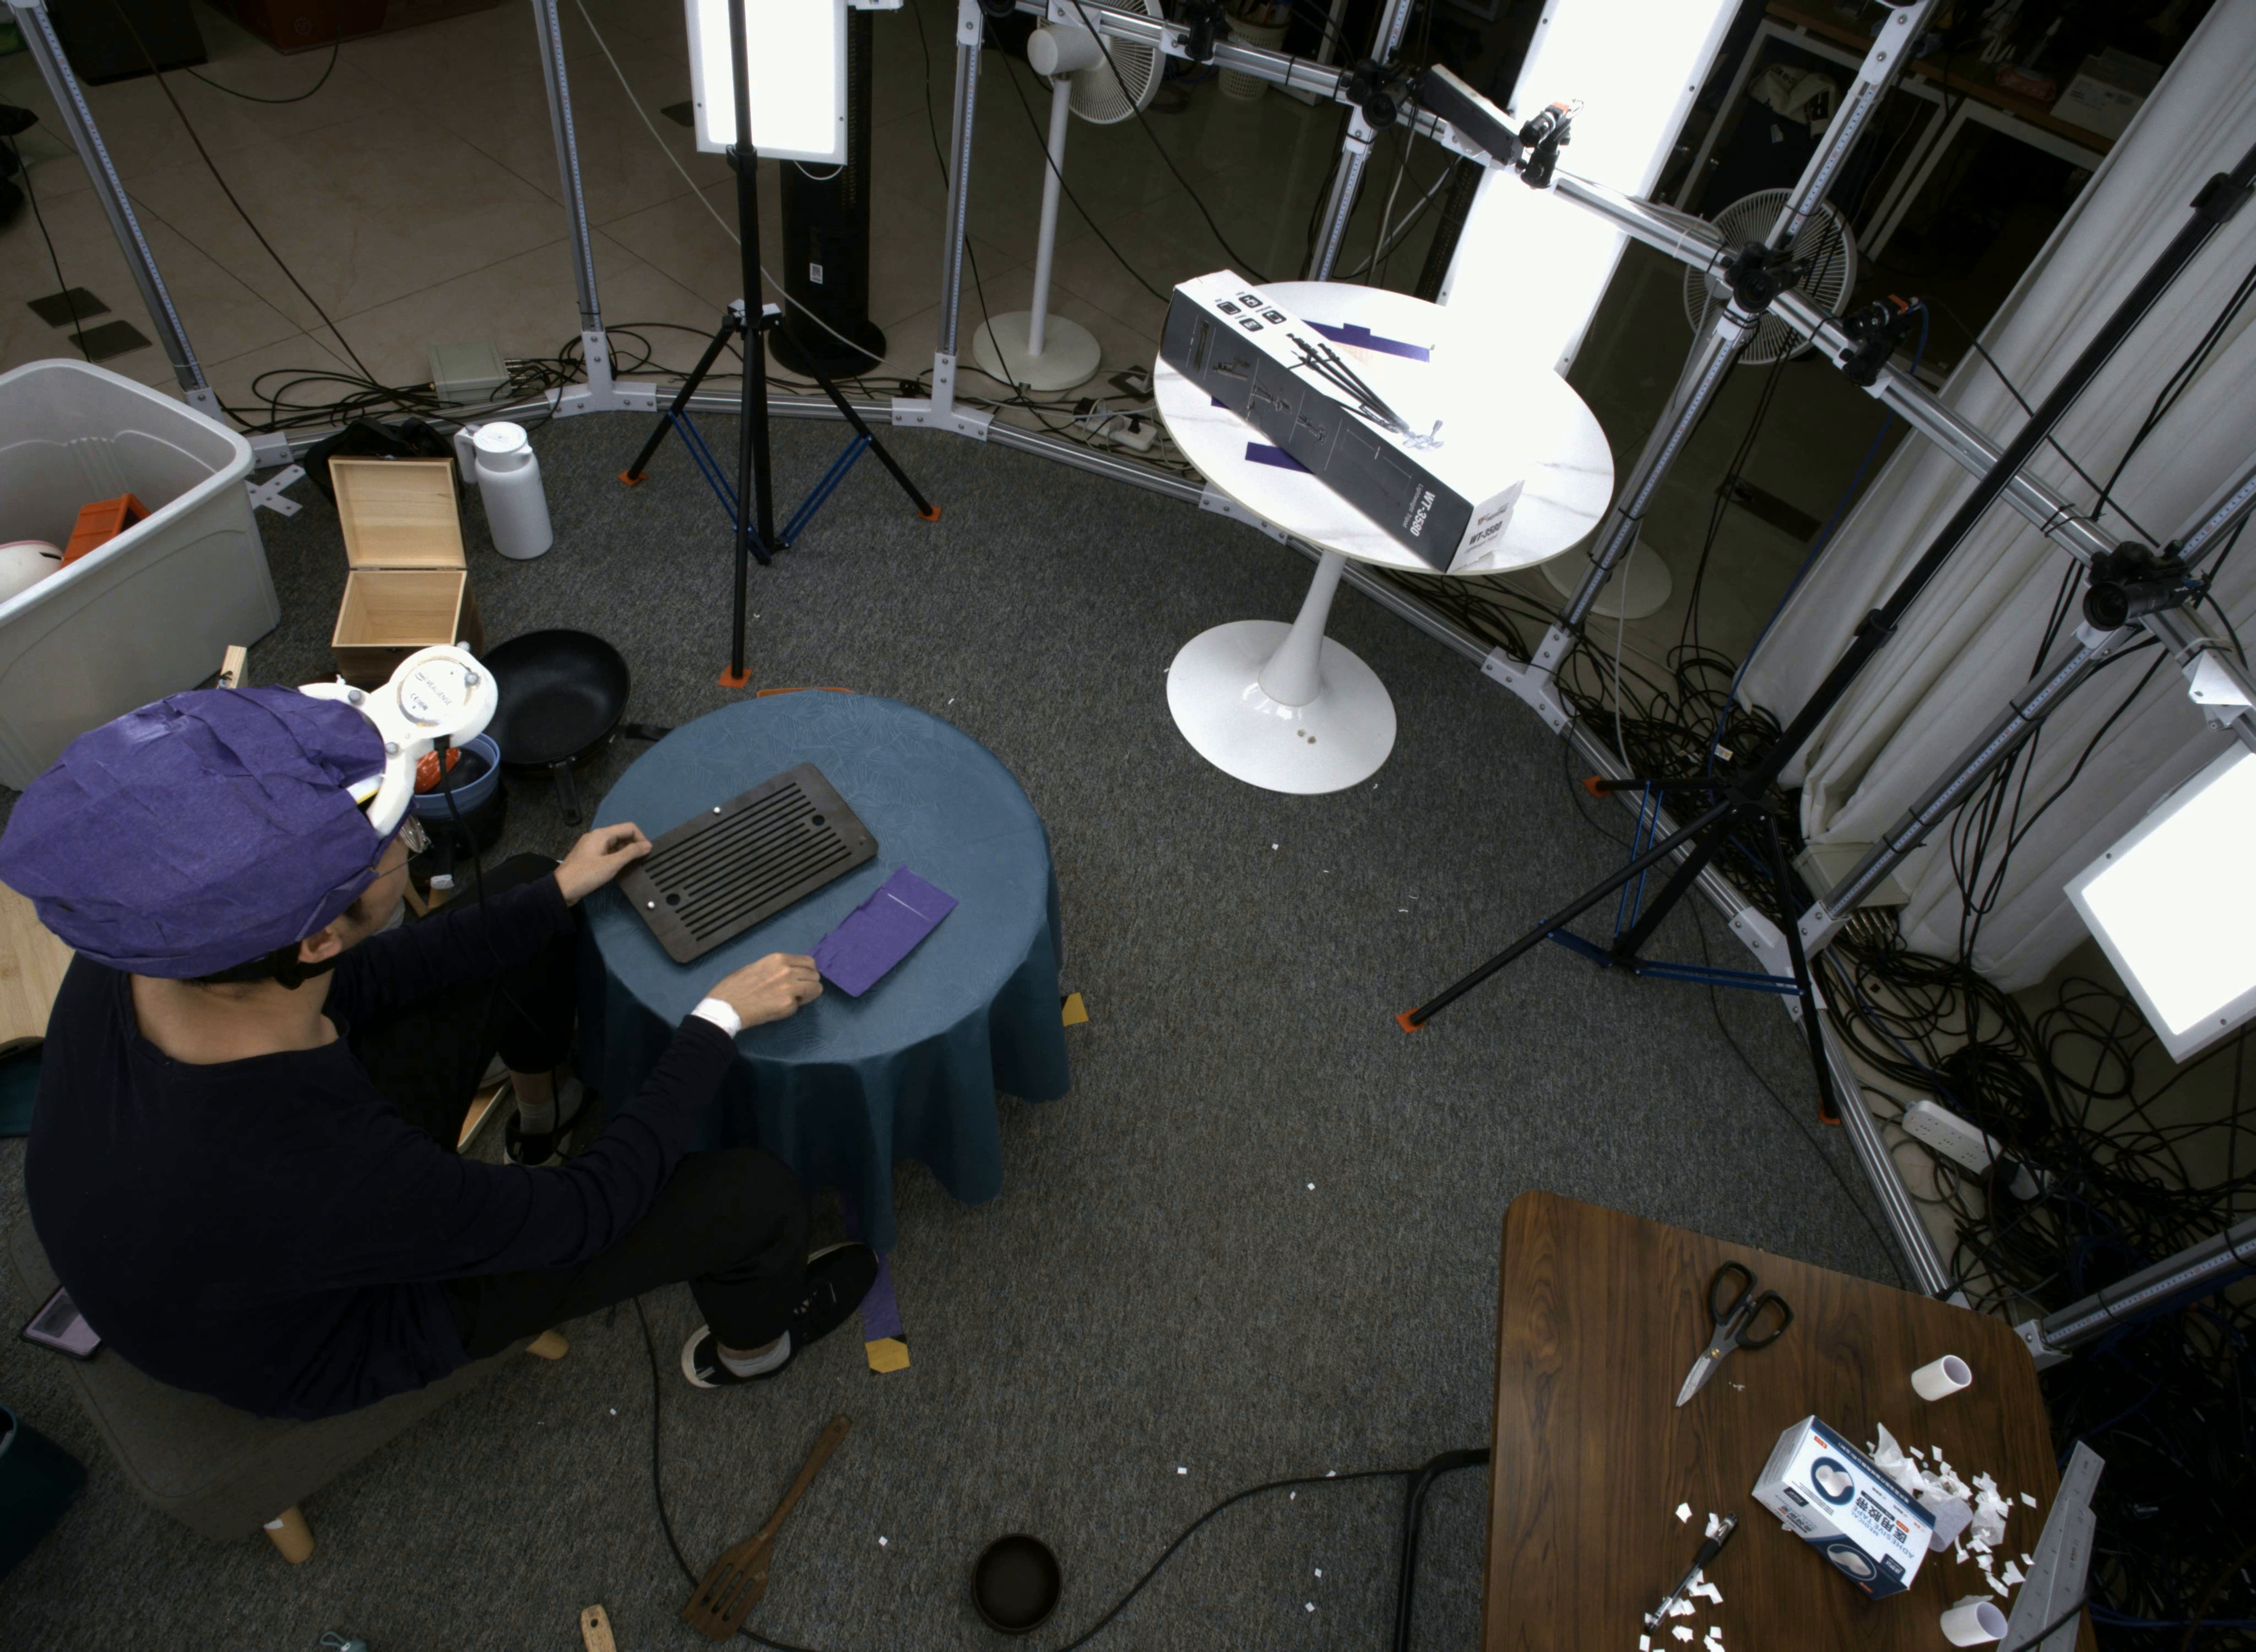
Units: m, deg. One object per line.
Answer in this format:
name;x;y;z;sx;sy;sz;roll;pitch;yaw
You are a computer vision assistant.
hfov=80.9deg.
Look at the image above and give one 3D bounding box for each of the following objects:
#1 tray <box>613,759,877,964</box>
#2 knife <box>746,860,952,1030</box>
tray;-0.491;0.040;1.664;0.307;0.019;0.168;-33;76;-31
knife;-0.336;0.153;1.613;0.102;0.033;0.314;32;48;11
